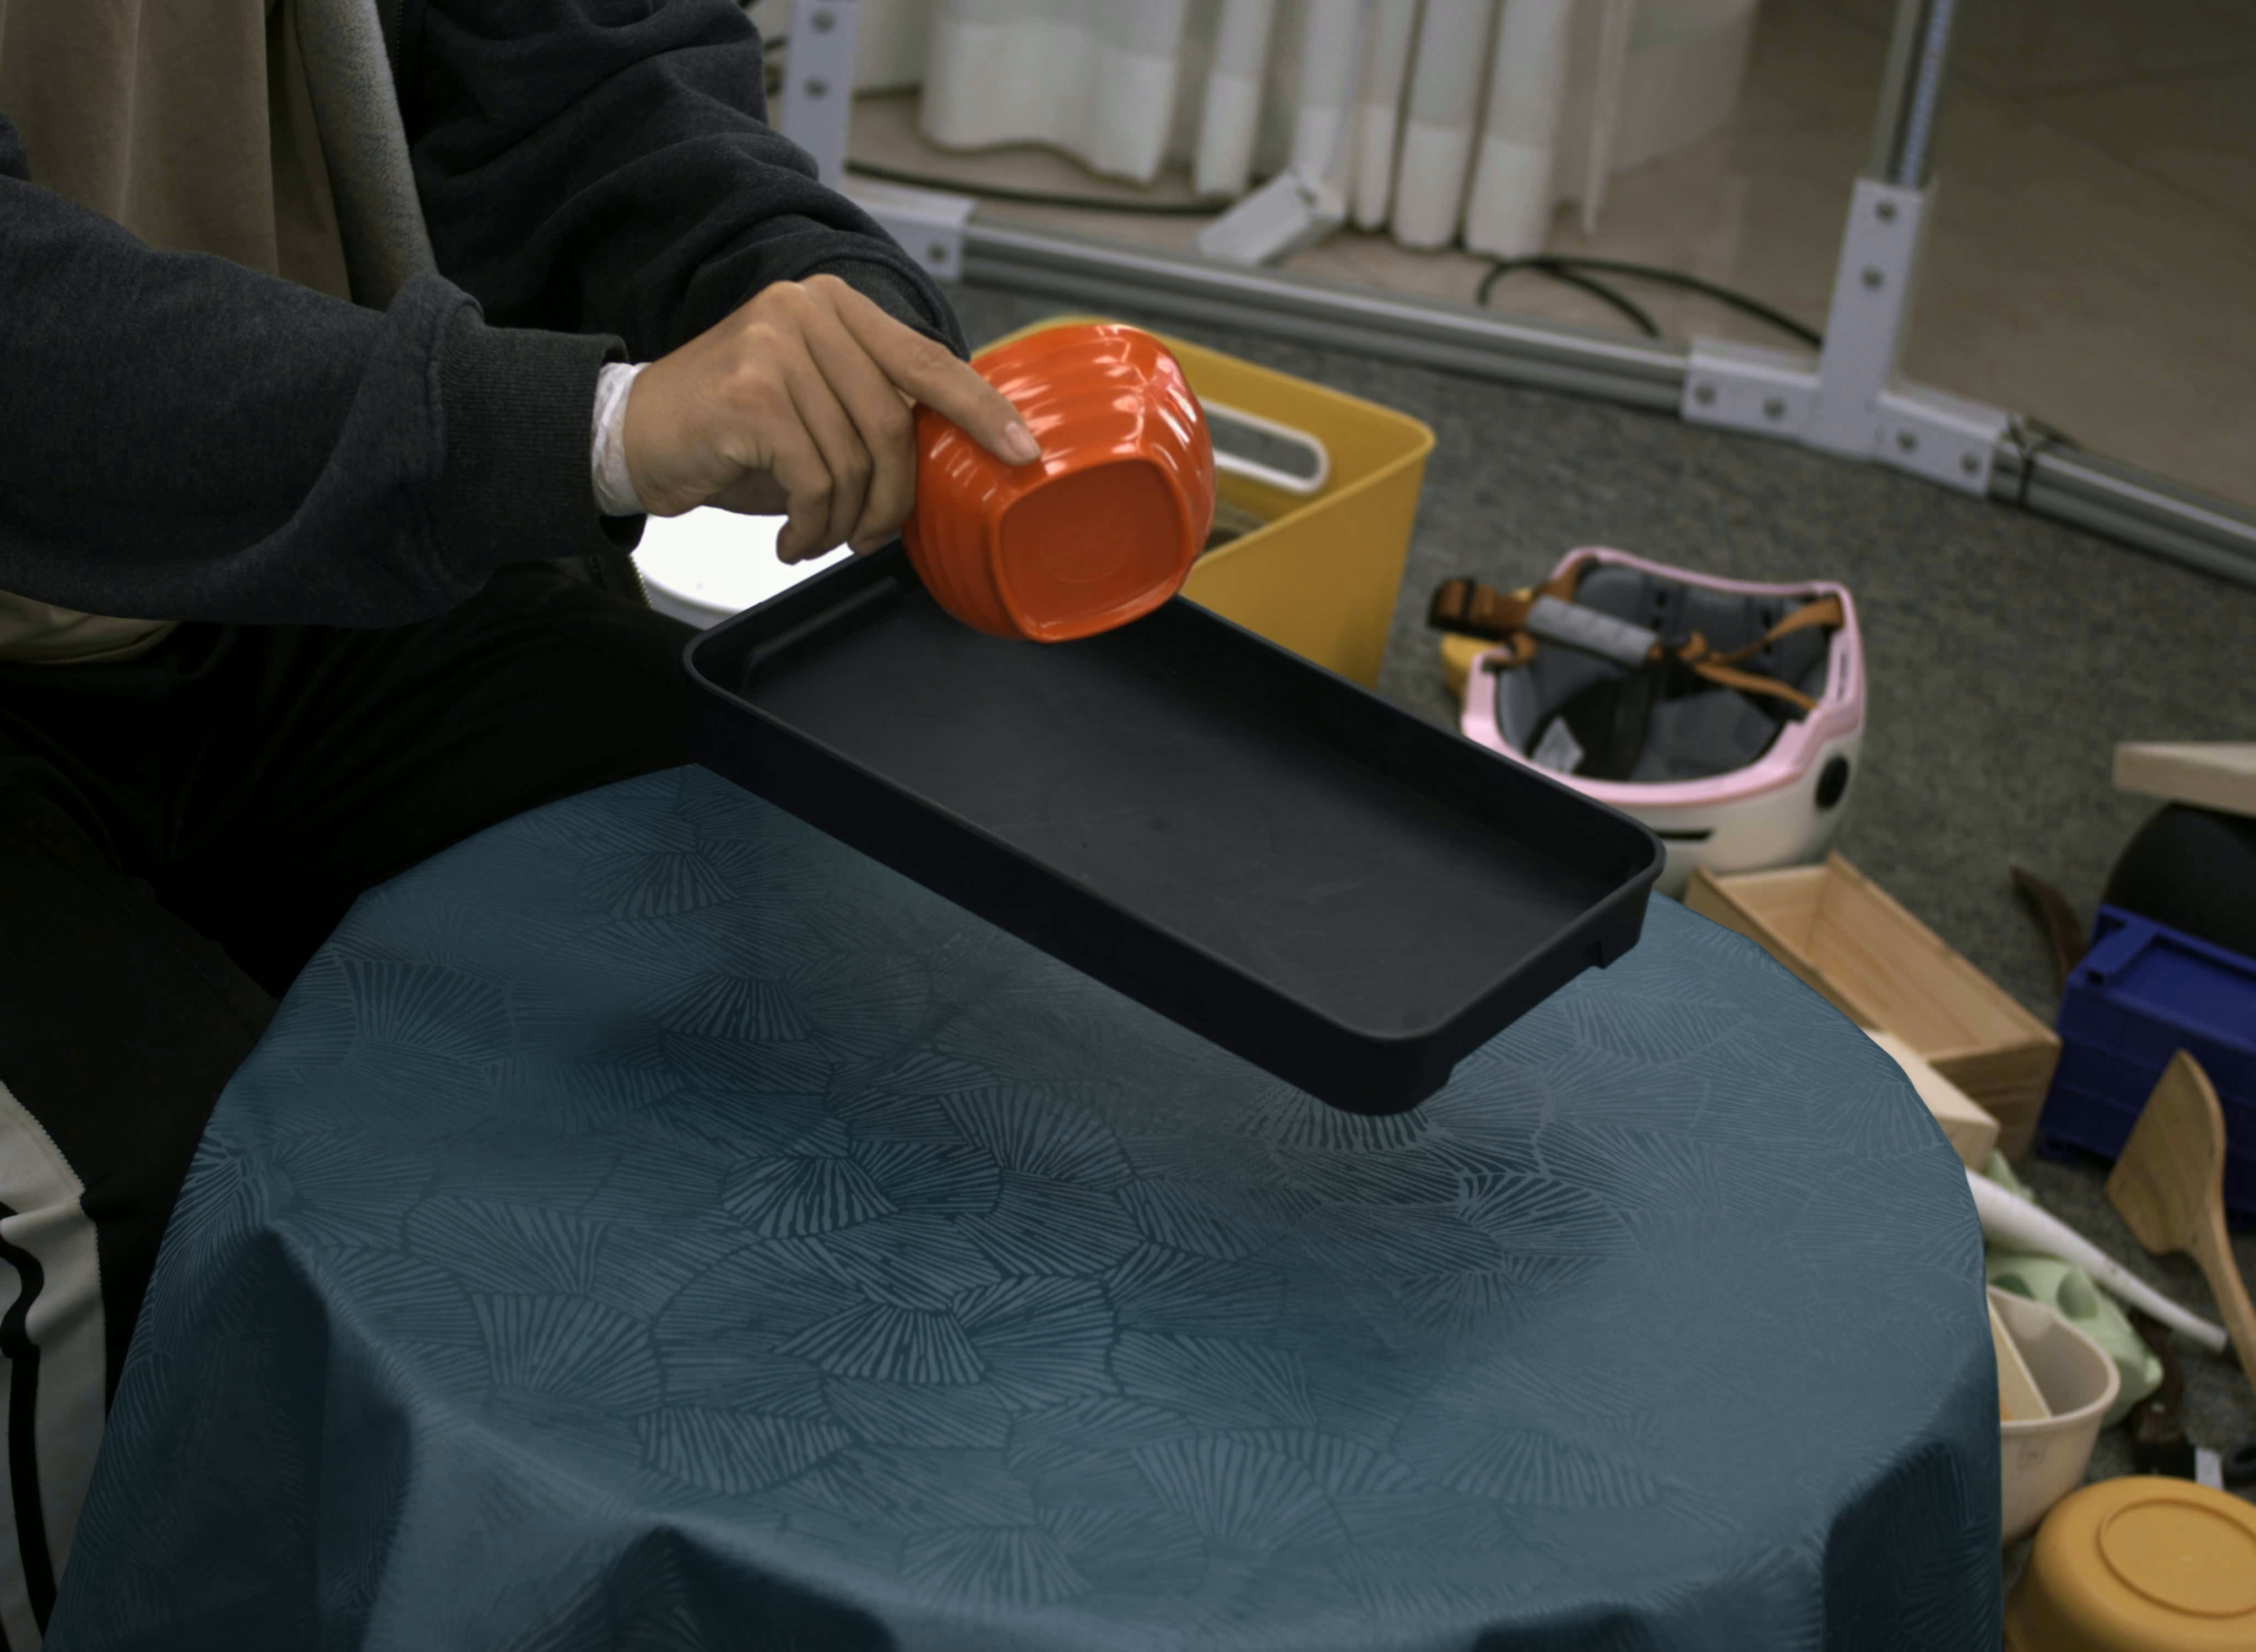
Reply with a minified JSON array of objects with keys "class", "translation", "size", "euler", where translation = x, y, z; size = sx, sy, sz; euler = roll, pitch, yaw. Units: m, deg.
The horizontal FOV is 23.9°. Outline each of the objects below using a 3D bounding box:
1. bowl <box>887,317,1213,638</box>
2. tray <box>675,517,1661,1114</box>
[{"class":"bowl","translation":[-0.020,-0.106,1.757],"size":[0.118,0.118,0.052],"euler":[-2,37,-18]},{"class":"tray","translation":[0.011,-0.014,1.845],"size":[0.320,0.037,0.184],"euler":[28,37,26]}]
